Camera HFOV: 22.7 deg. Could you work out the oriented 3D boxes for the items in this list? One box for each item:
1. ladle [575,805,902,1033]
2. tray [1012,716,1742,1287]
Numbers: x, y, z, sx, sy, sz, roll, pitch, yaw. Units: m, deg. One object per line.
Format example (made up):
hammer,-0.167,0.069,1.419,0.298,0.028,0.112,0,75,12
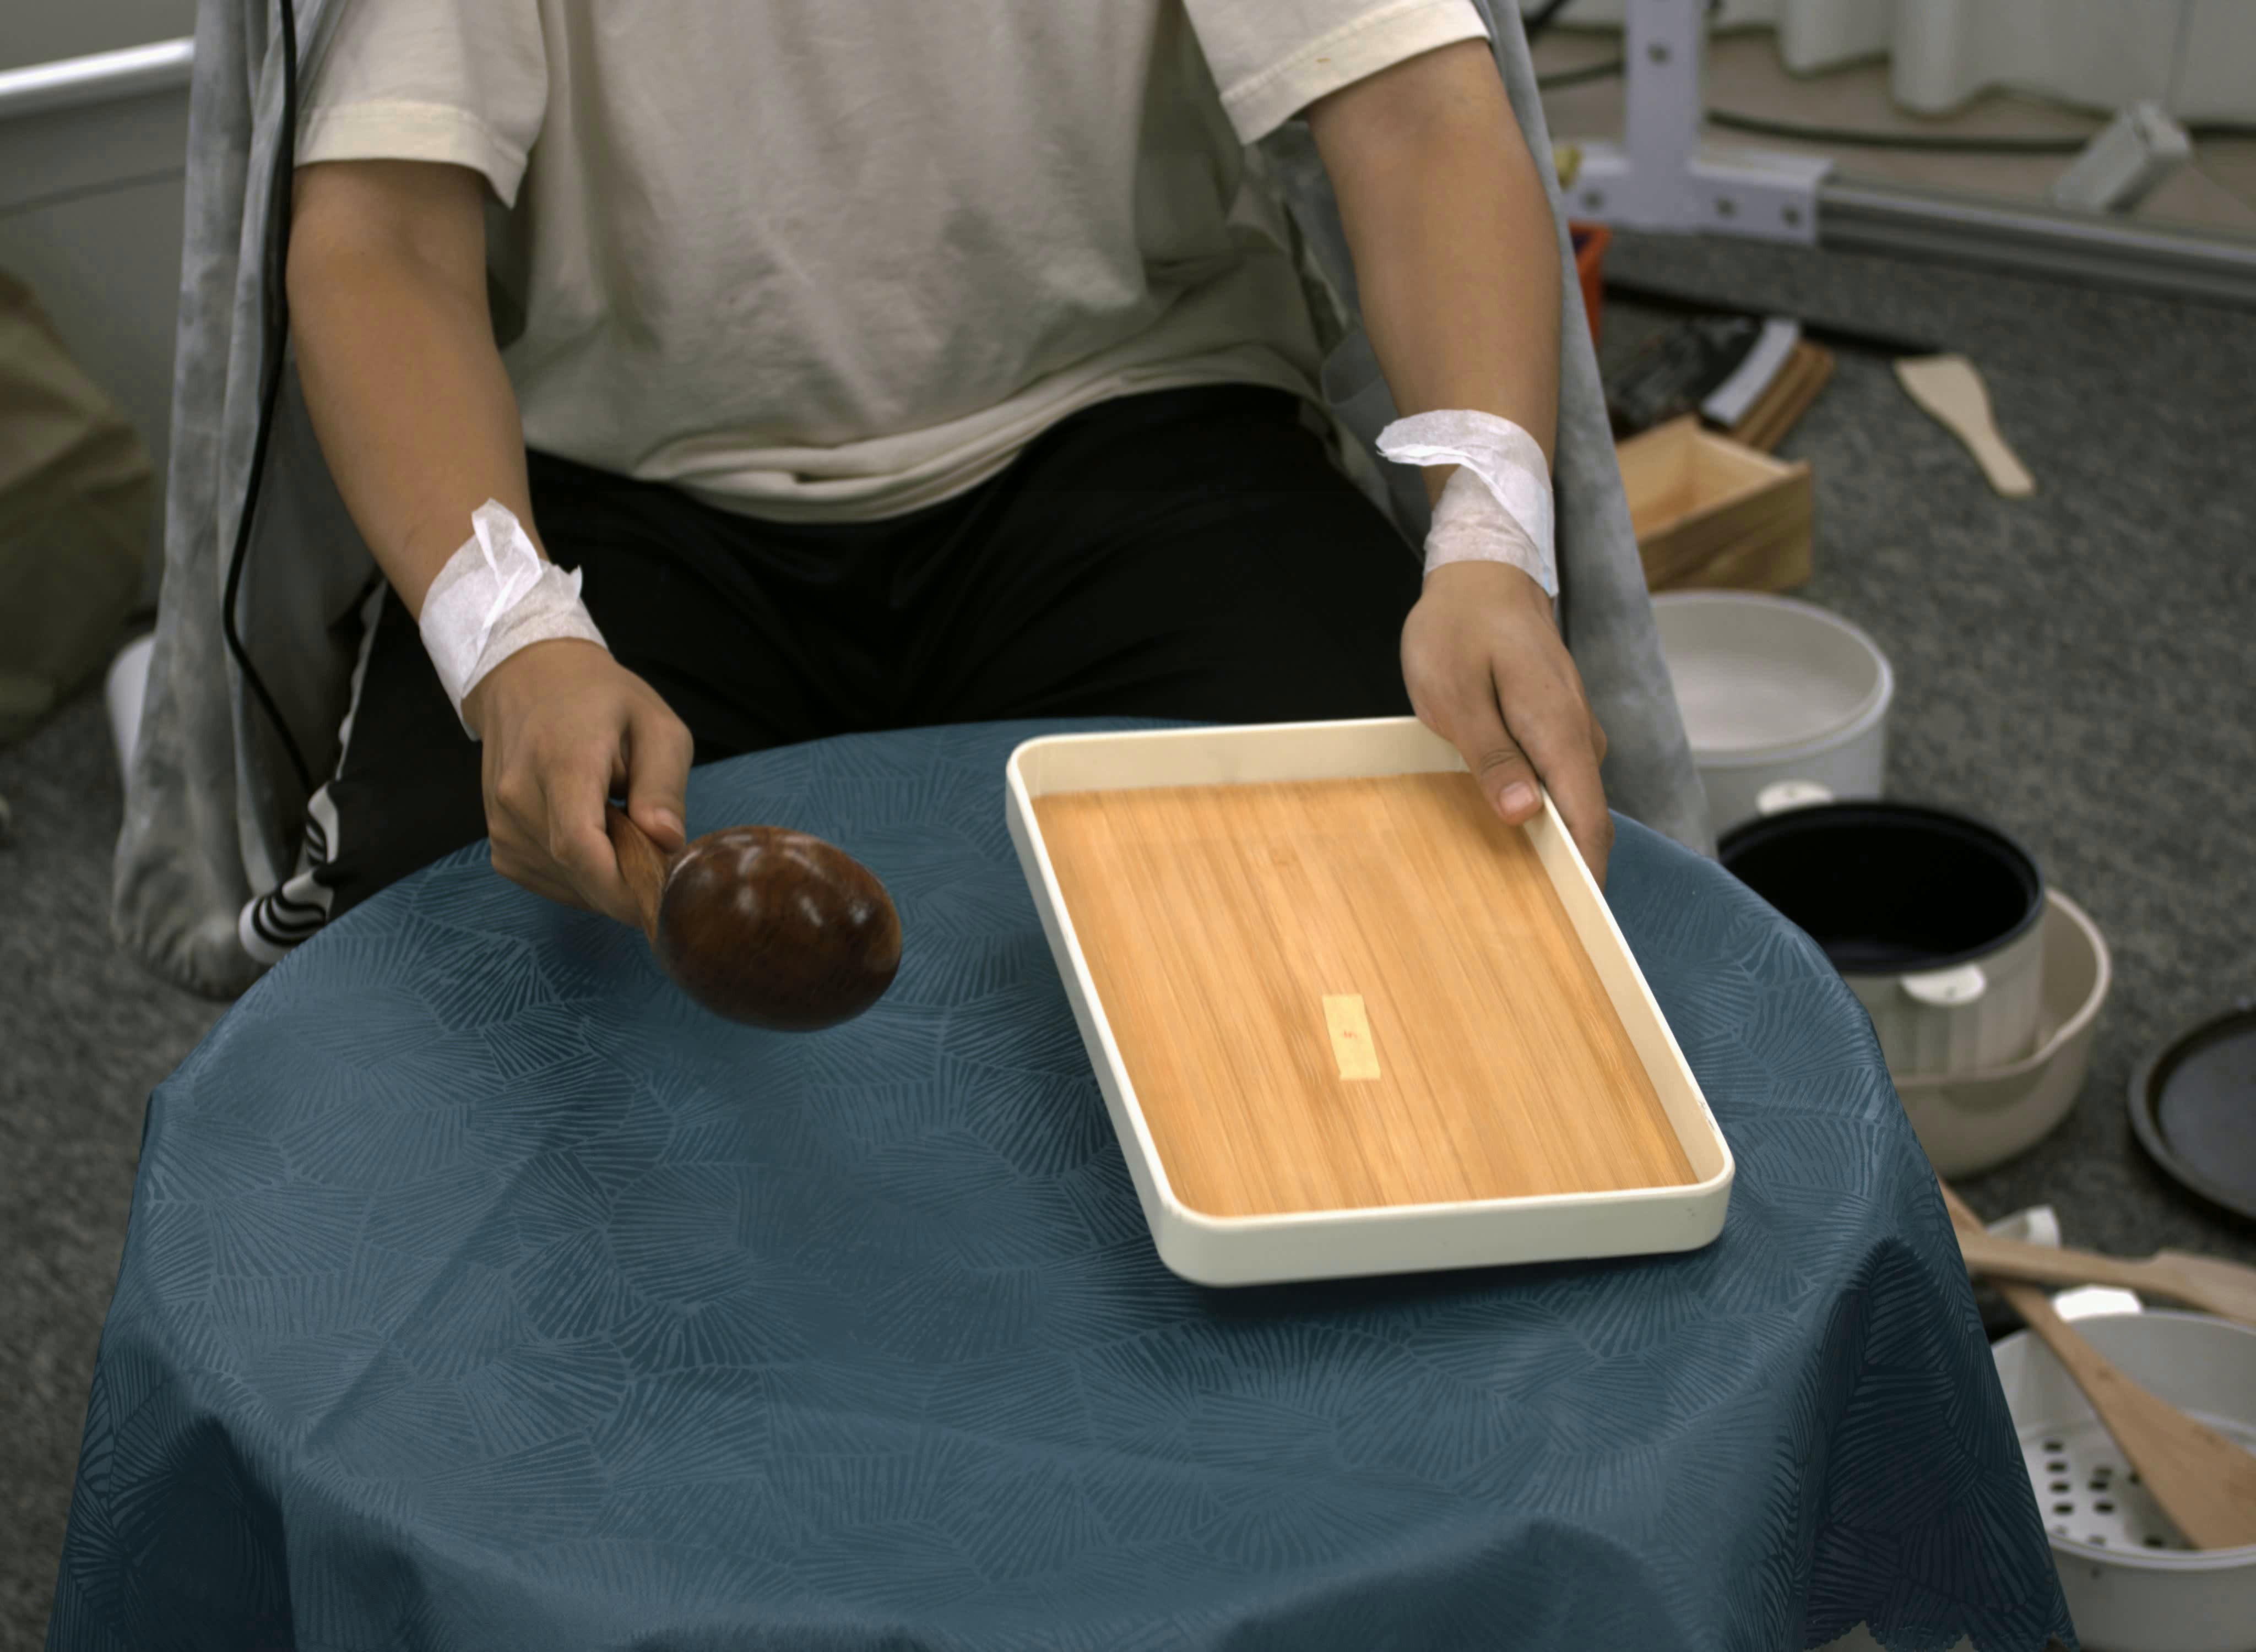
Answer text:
ladle,-0.139,0.009,1.894,0.076,0.081,0.275,-44,19,0
tray,0.077,0.054,1.904,0.191,0.027,0.304,-3,32,-11
